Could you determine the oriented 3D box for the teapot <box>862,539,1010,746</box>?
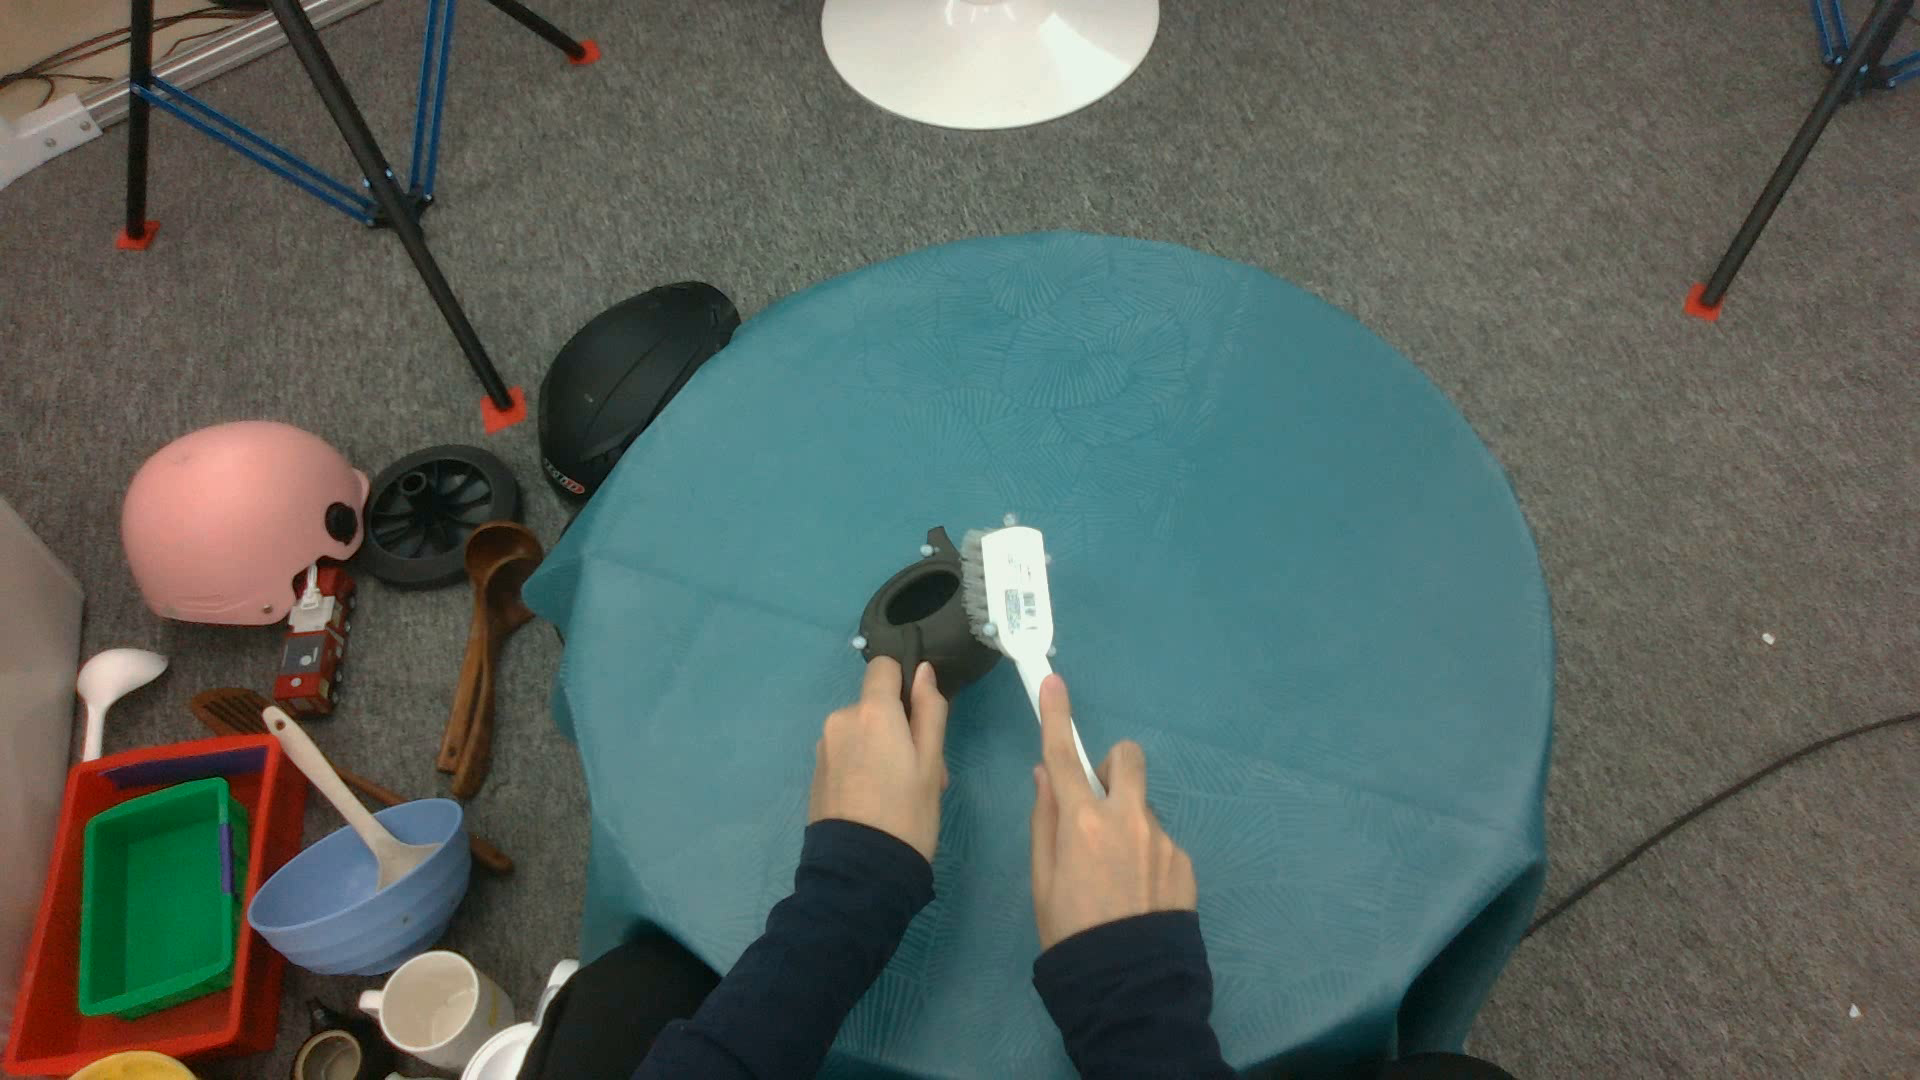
[{"bbox_3d":[-0.012,0.060,0.807,0.092,0.064,0.155,-16,34,20],"label":"teapot"}]

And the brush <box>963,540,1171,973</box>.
[{"bbox_3d":[0.052,0.109,0.729,0.034,0.050,0.244,-6,68,-32],"label":"brush"}]
